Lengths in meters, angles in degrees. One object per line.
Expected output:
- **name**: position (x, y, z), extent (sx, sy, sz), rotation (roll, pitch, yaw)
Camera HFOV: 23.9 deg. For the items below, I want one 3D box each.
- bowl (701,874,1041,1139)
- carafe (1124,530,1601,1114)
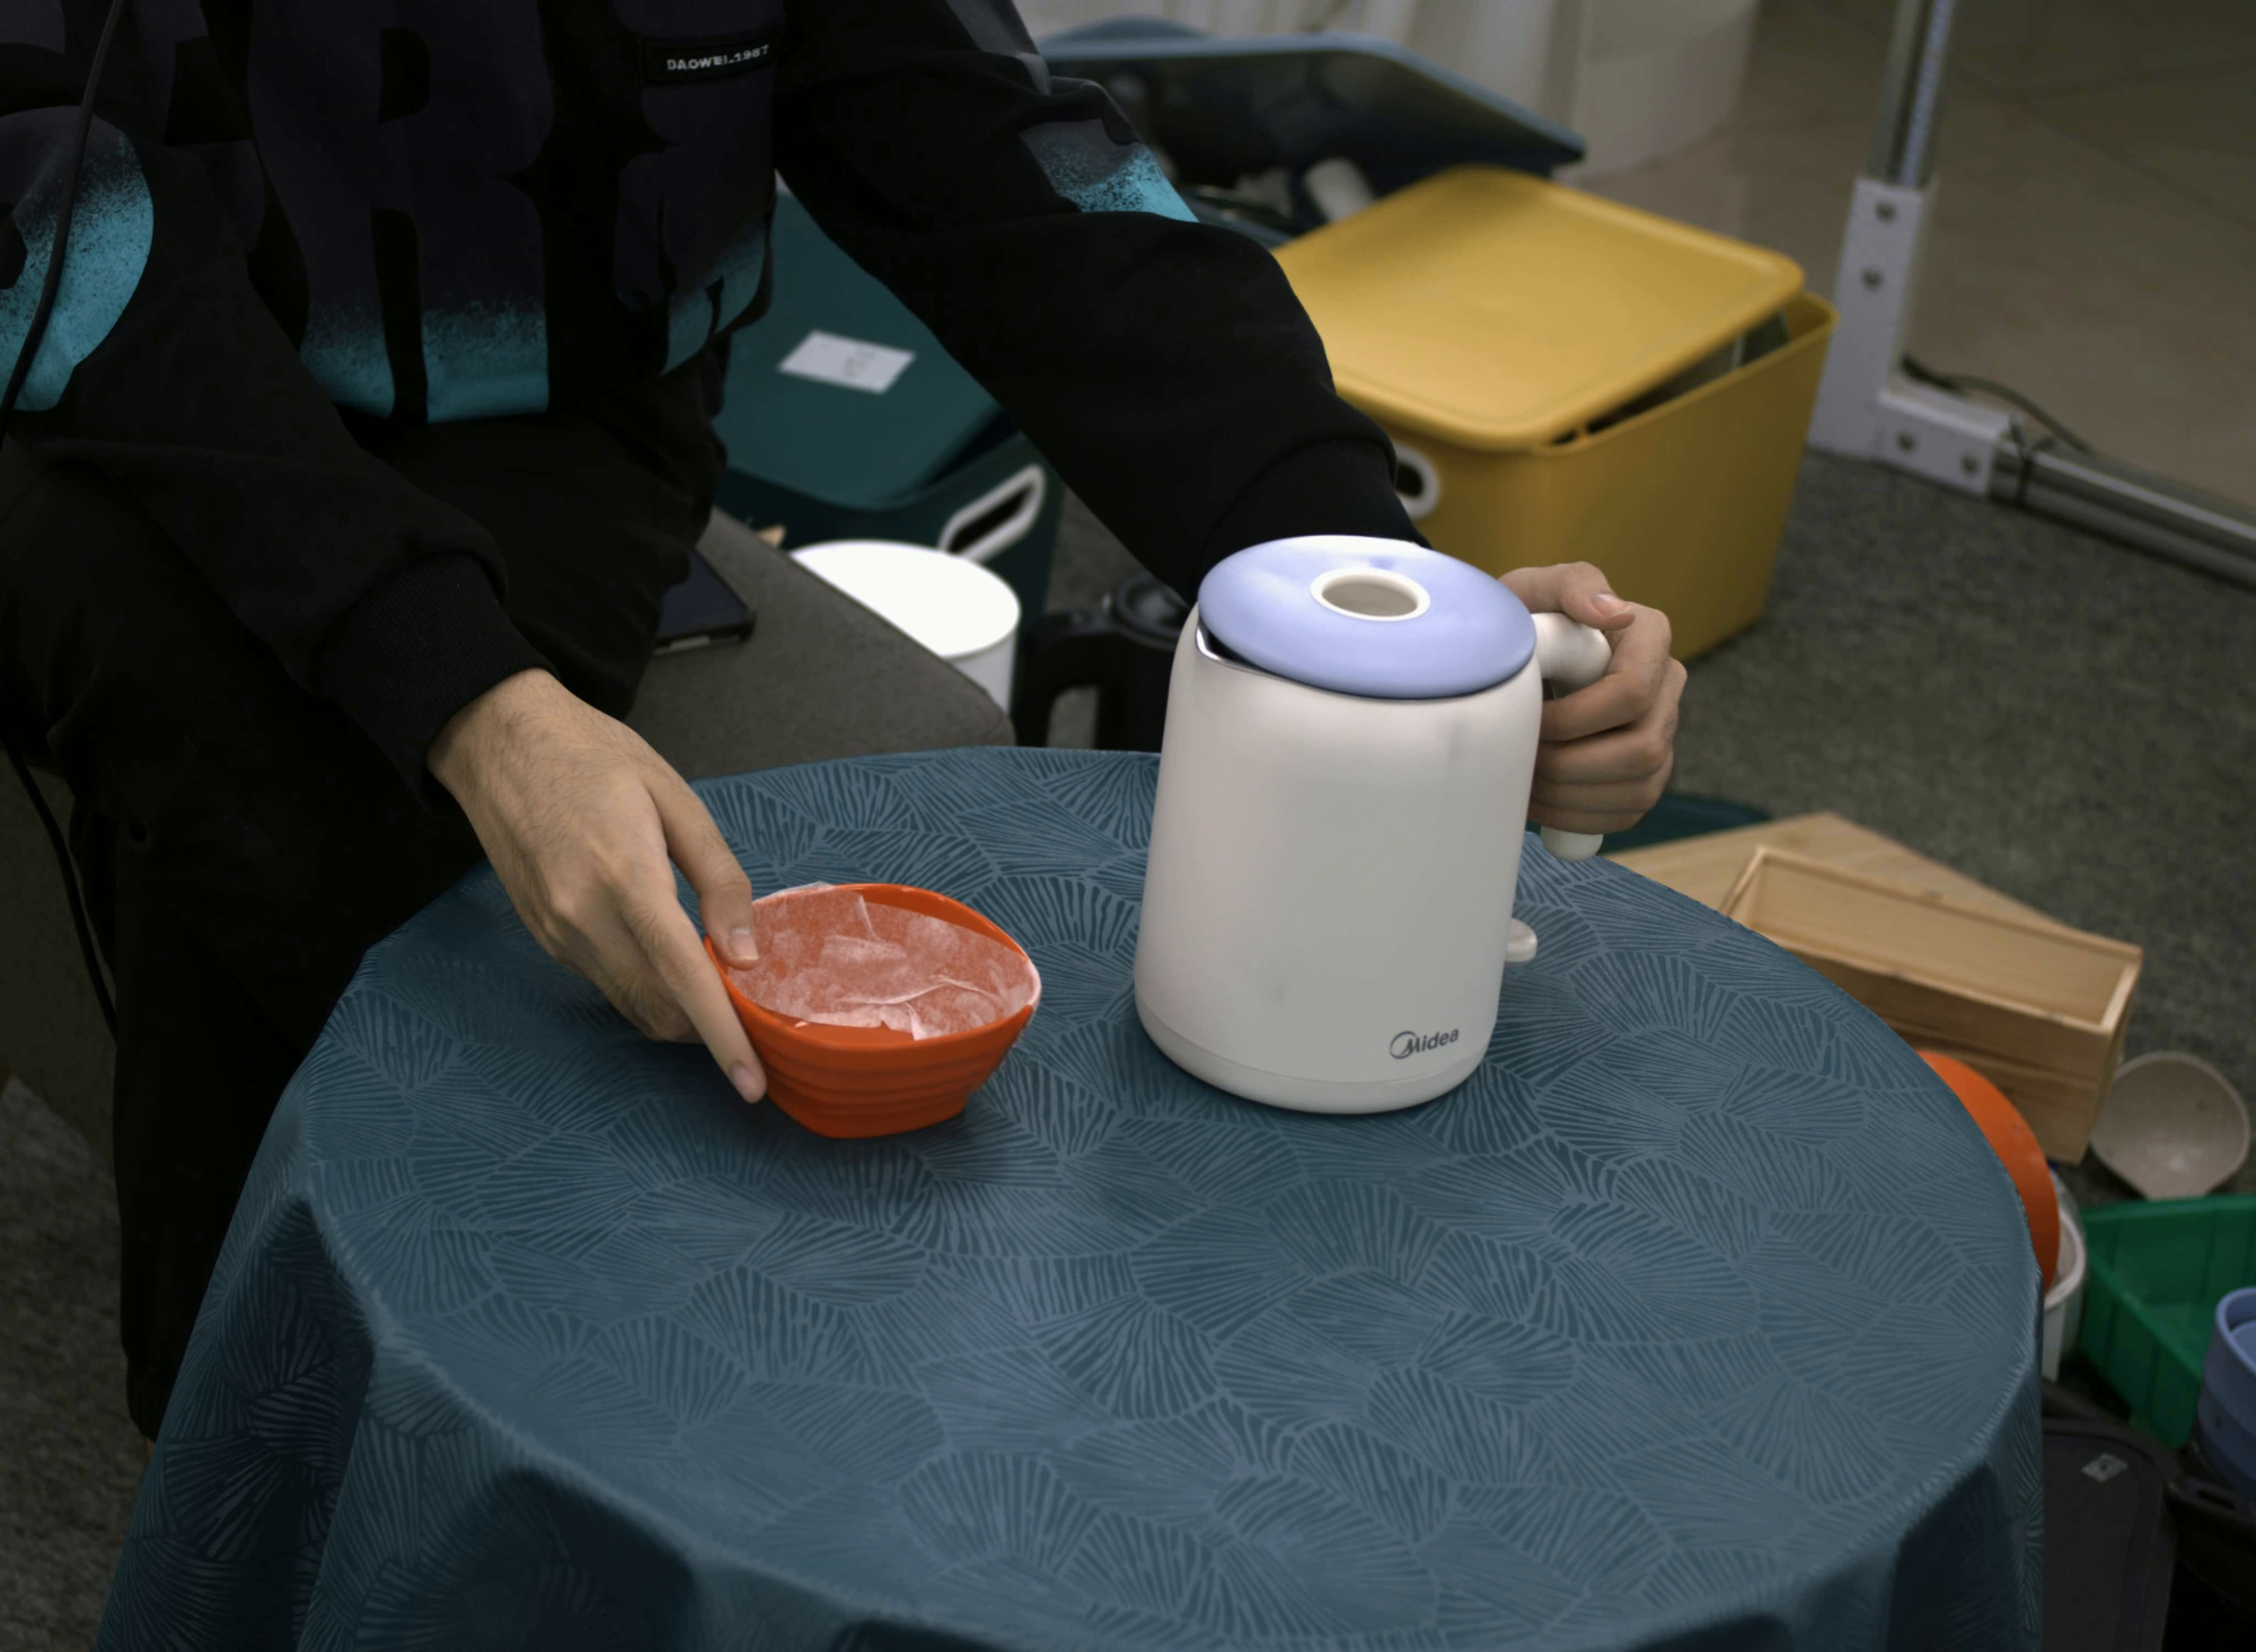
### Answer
- **bowl**: position (-0.090, 0.067, 1.832), extent (0.118, 0.051, 0.119), rotation (5, 30, -3)
- **carafe**: position (0.092, -0.005, 1.886), extent (0.190, 0.182, 0.133), rotation (-10, 32, -34)
